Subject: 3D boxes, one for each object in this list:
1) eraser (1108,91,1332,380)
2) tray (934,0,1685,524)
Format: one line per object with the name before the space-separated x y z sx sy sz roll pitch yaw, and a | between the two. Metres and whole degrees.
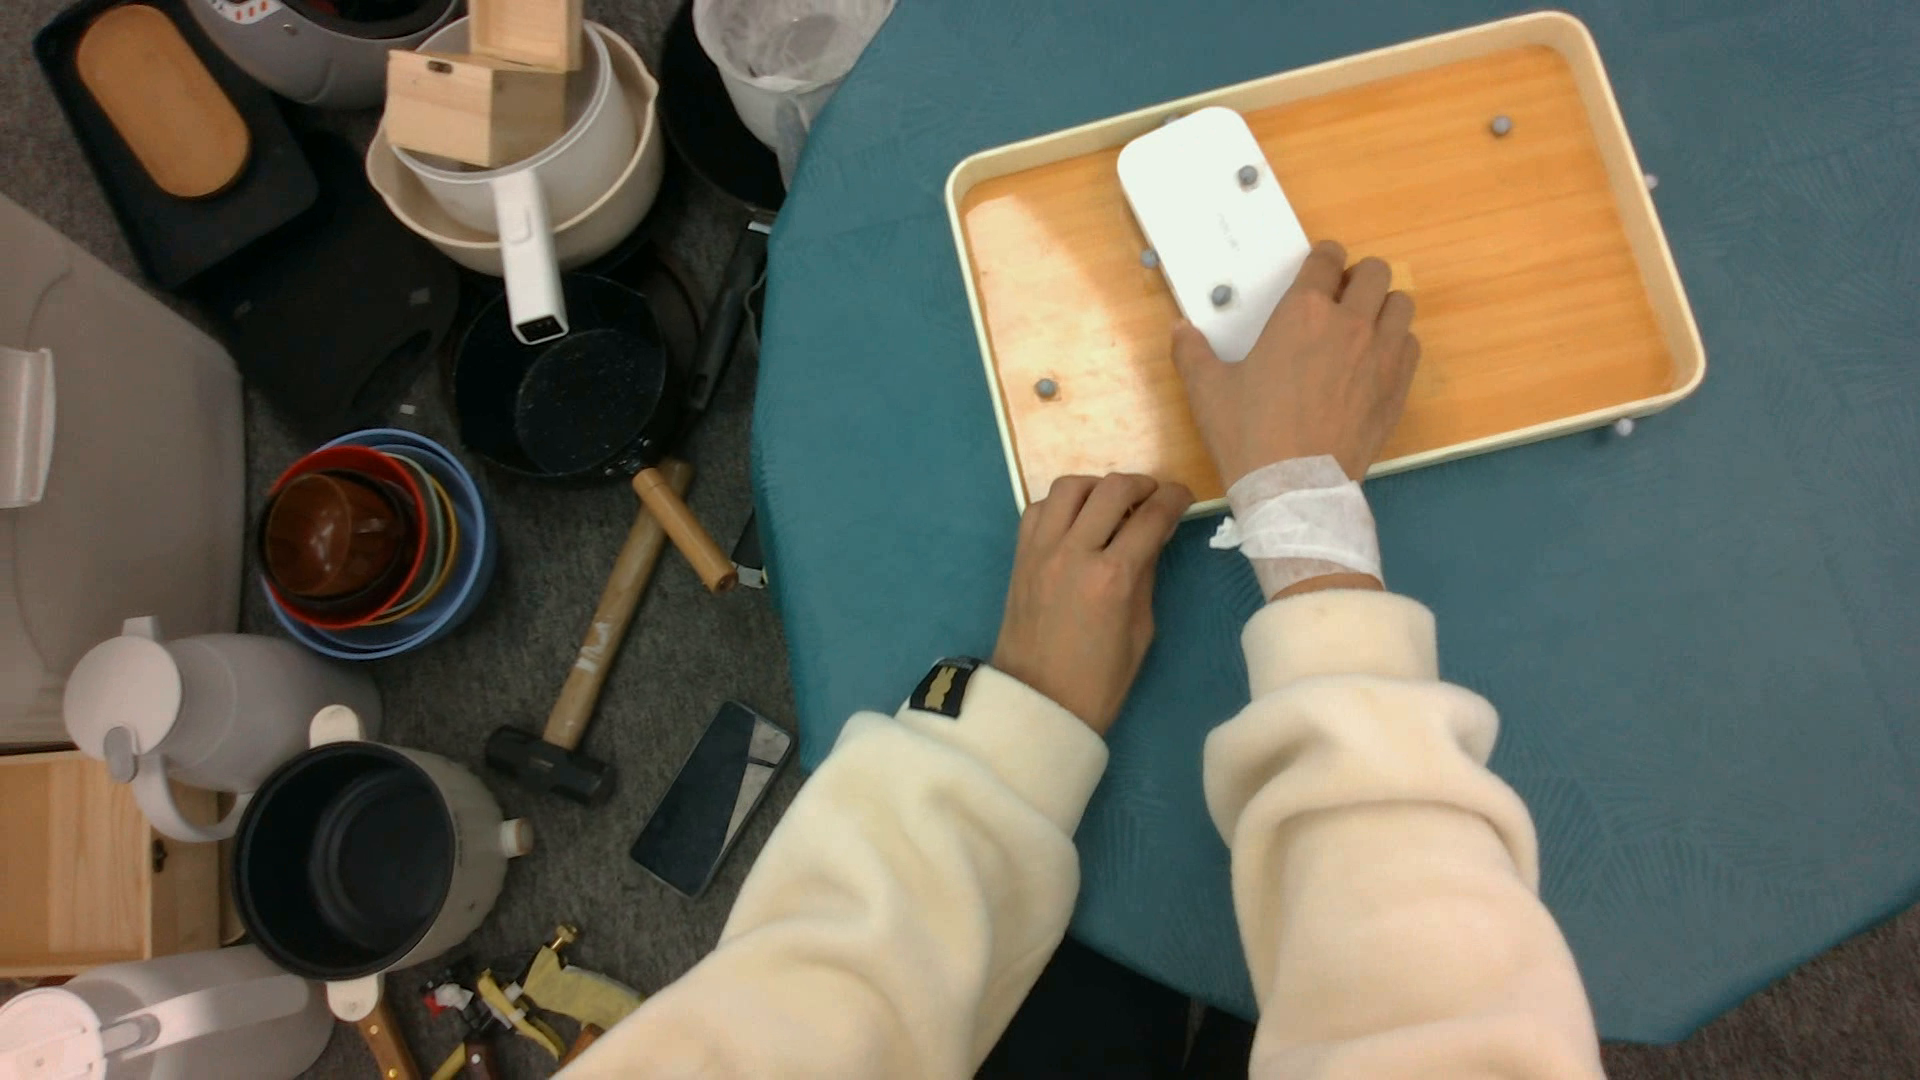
eraser | 0.115 -0.137 0.621 0.063 0.034 0.131 -22 77 2
tray | 0.150 -0.128 0.625 0.300 0.027 0.192 -13 78 2
